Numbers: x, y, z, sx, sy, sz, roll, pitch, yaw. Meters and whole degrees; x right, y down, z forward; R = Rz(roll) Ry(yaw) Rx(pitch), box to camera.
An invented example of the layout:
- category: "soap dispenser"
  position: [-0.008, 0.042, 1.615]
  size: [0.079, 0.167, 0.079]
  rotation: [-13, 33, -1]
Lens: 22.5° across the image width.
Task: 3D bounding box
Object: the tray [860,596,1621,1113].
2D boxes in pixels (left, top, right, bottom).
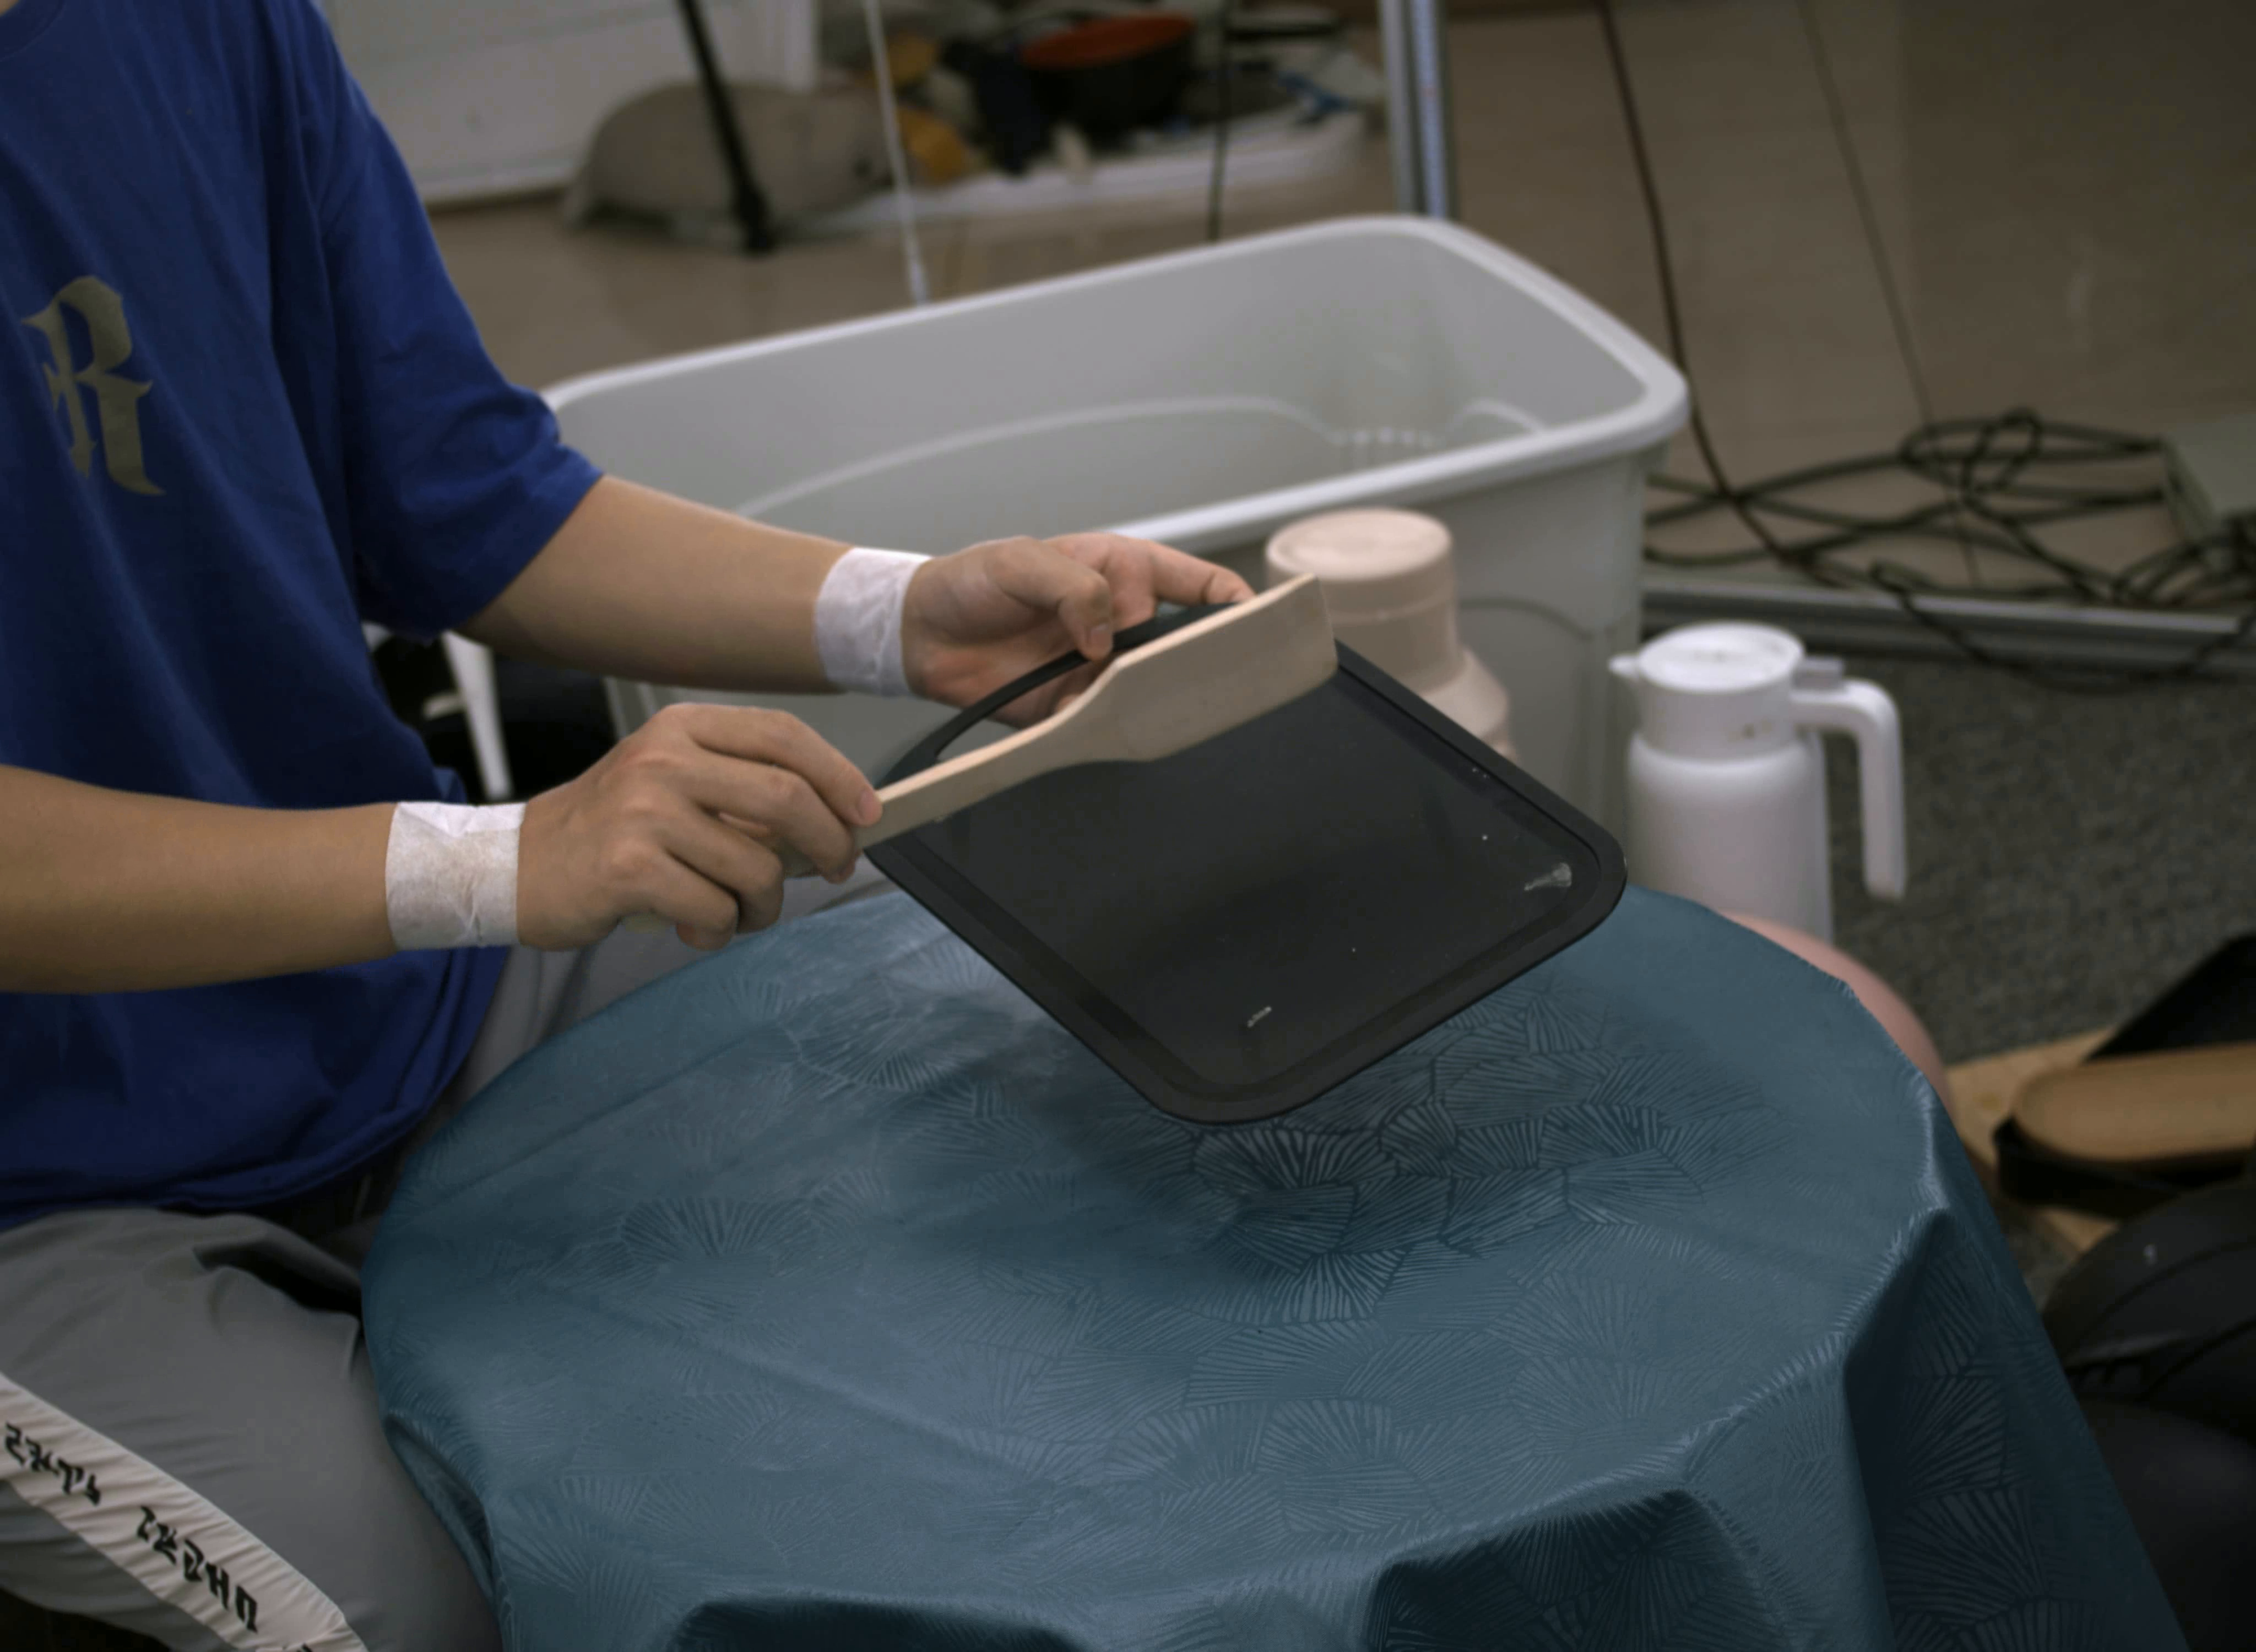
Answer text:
- category: "tray"
  position: [0.033, 0.001, 2.201]
  size: [0.210, 0.010, 0.321]
  rotation: [-30, 38, -17]

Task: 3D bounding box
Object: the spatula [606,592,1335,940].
- category: "spatula"
  position: [-0.060, -0.017, 2.128]
  size: [0.292, 0.073, 0.010]
  rotation: [-22, 59, -2]
